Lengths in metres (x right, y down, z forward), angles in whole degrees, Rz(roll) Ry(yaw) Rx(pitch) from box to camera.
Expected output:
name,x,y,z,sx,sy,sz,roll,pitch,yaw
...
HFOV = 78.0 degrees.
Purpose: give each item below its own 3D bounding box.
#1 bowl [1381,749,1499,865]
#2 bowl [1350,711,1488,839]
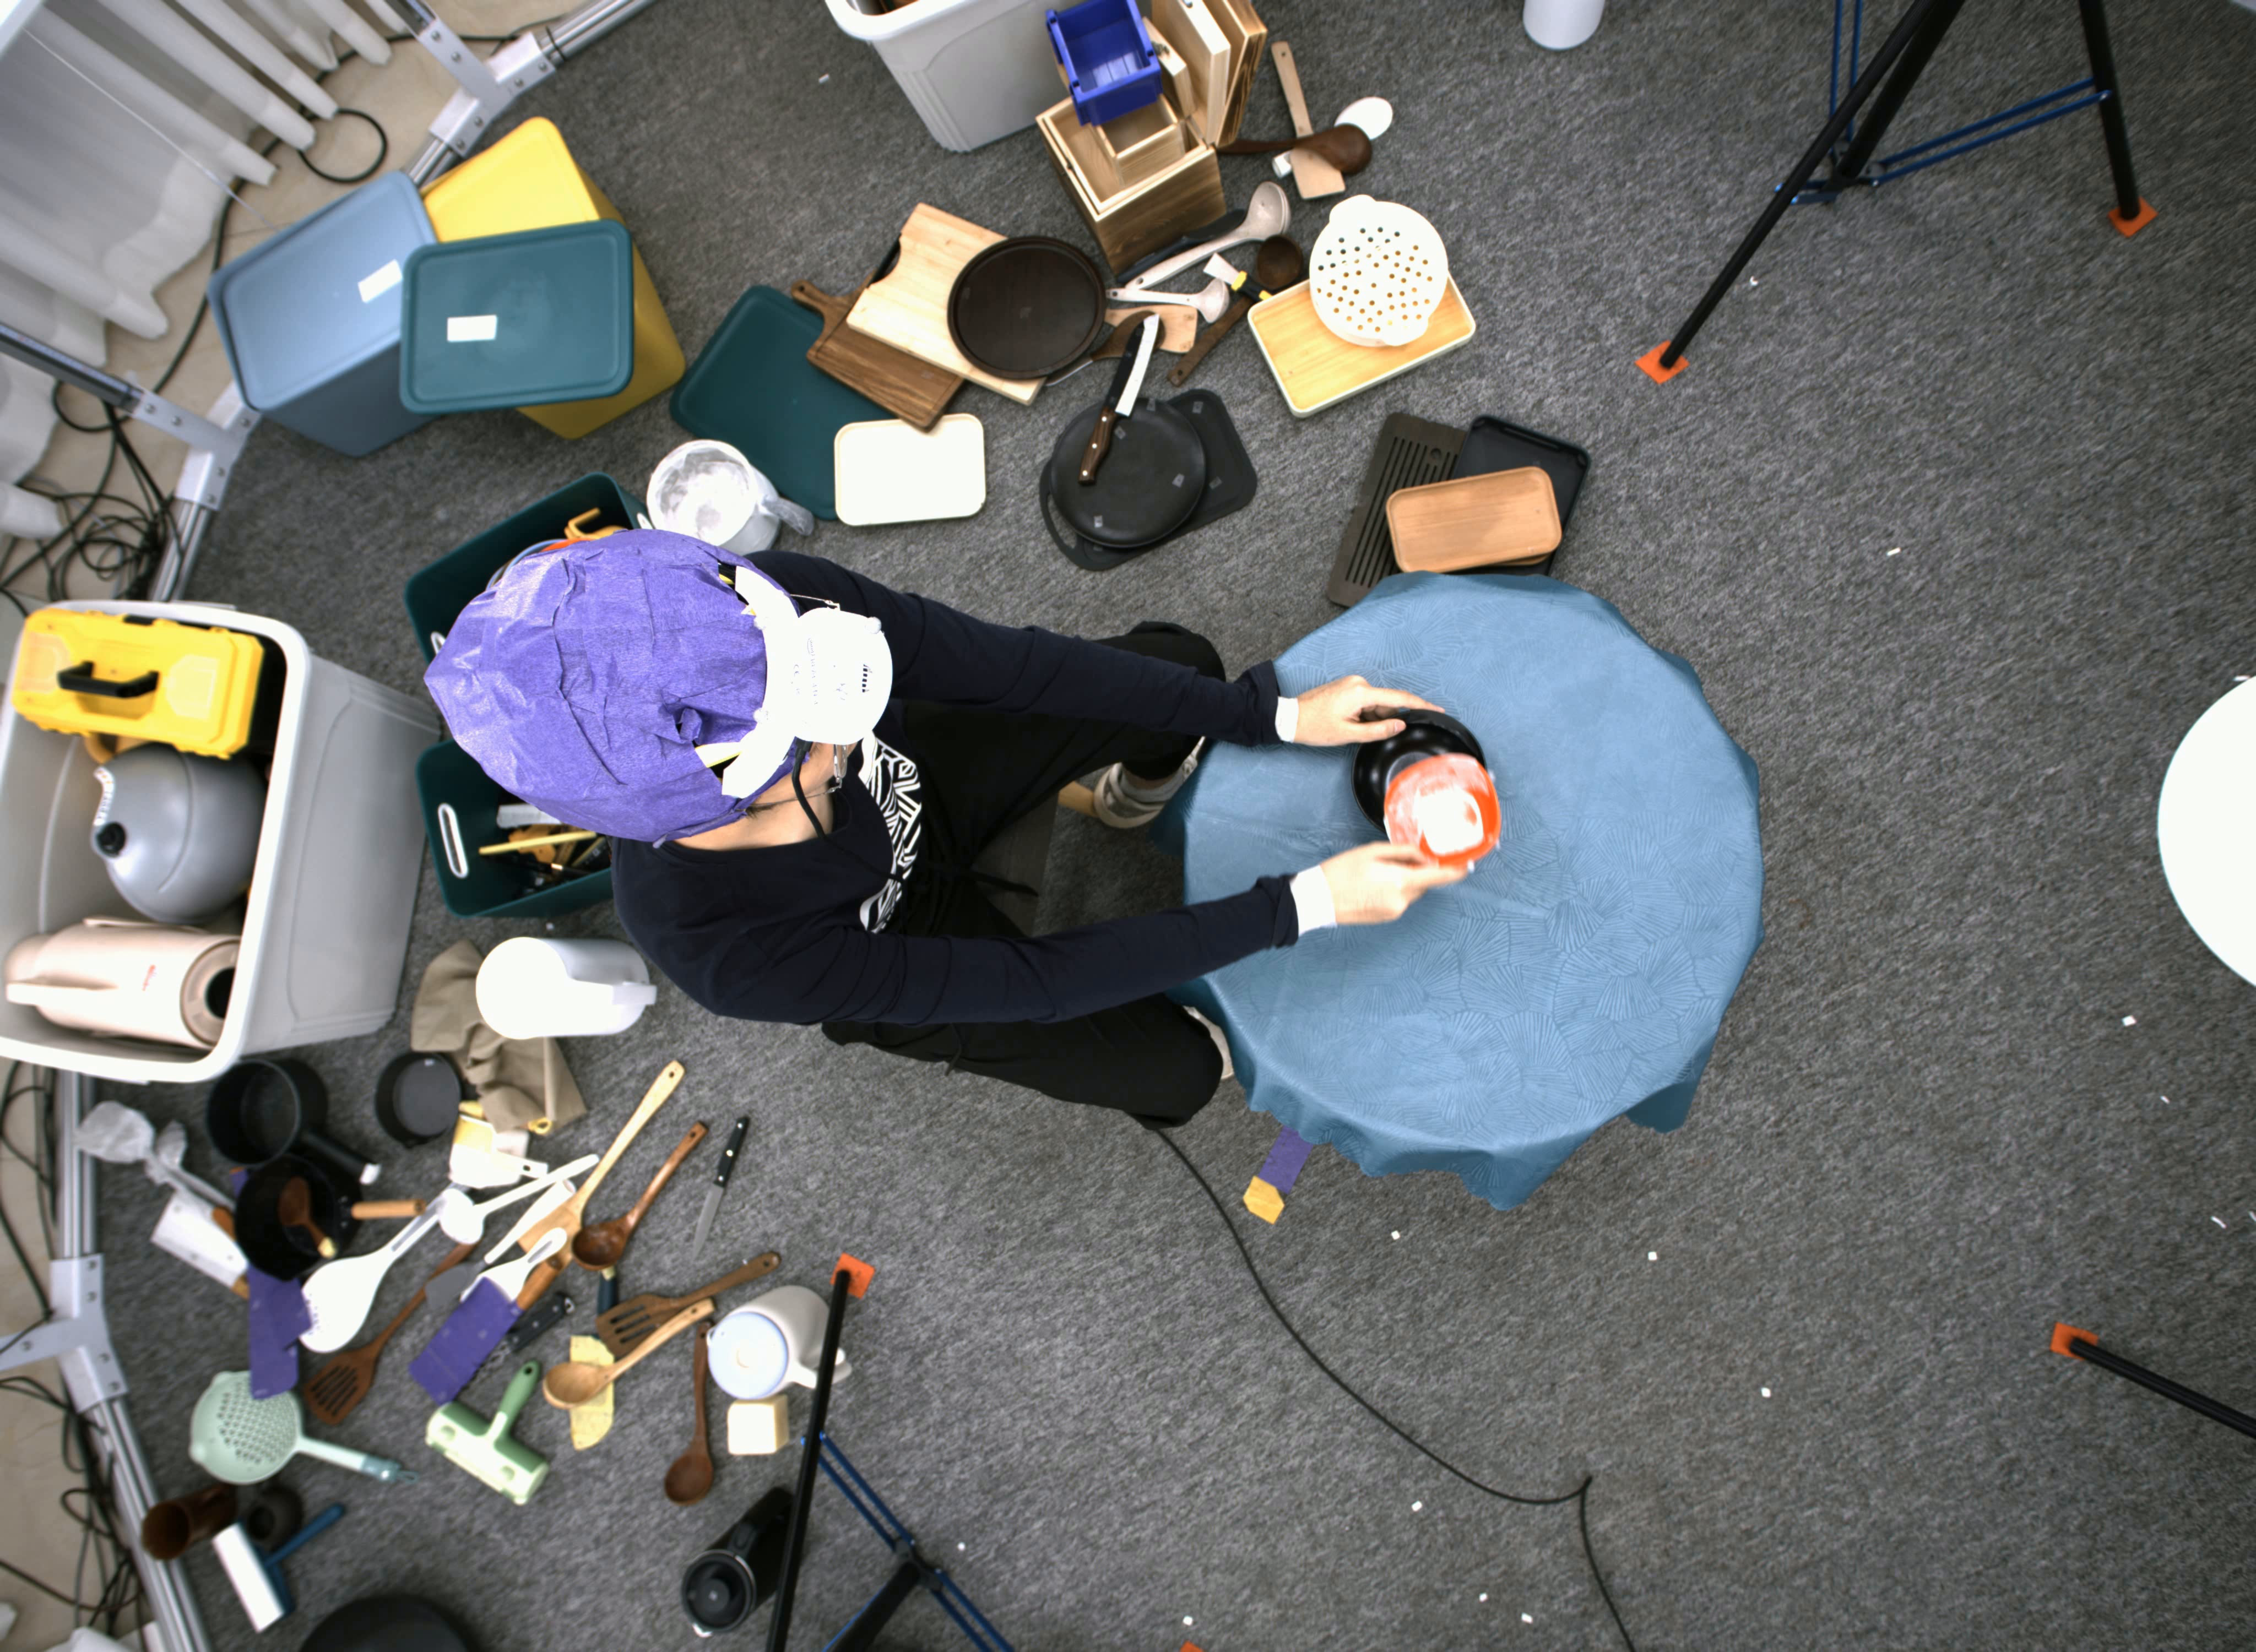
name,x,y,z,sx,sy,sz,roll,pitch,yaw
bowl,0.307,-0.015,1.336,0.120,0.051,0.117,-7,75,26
bowl,0.304,-0.050,1.438,0.141,0.050,0.139,-1,86,15
